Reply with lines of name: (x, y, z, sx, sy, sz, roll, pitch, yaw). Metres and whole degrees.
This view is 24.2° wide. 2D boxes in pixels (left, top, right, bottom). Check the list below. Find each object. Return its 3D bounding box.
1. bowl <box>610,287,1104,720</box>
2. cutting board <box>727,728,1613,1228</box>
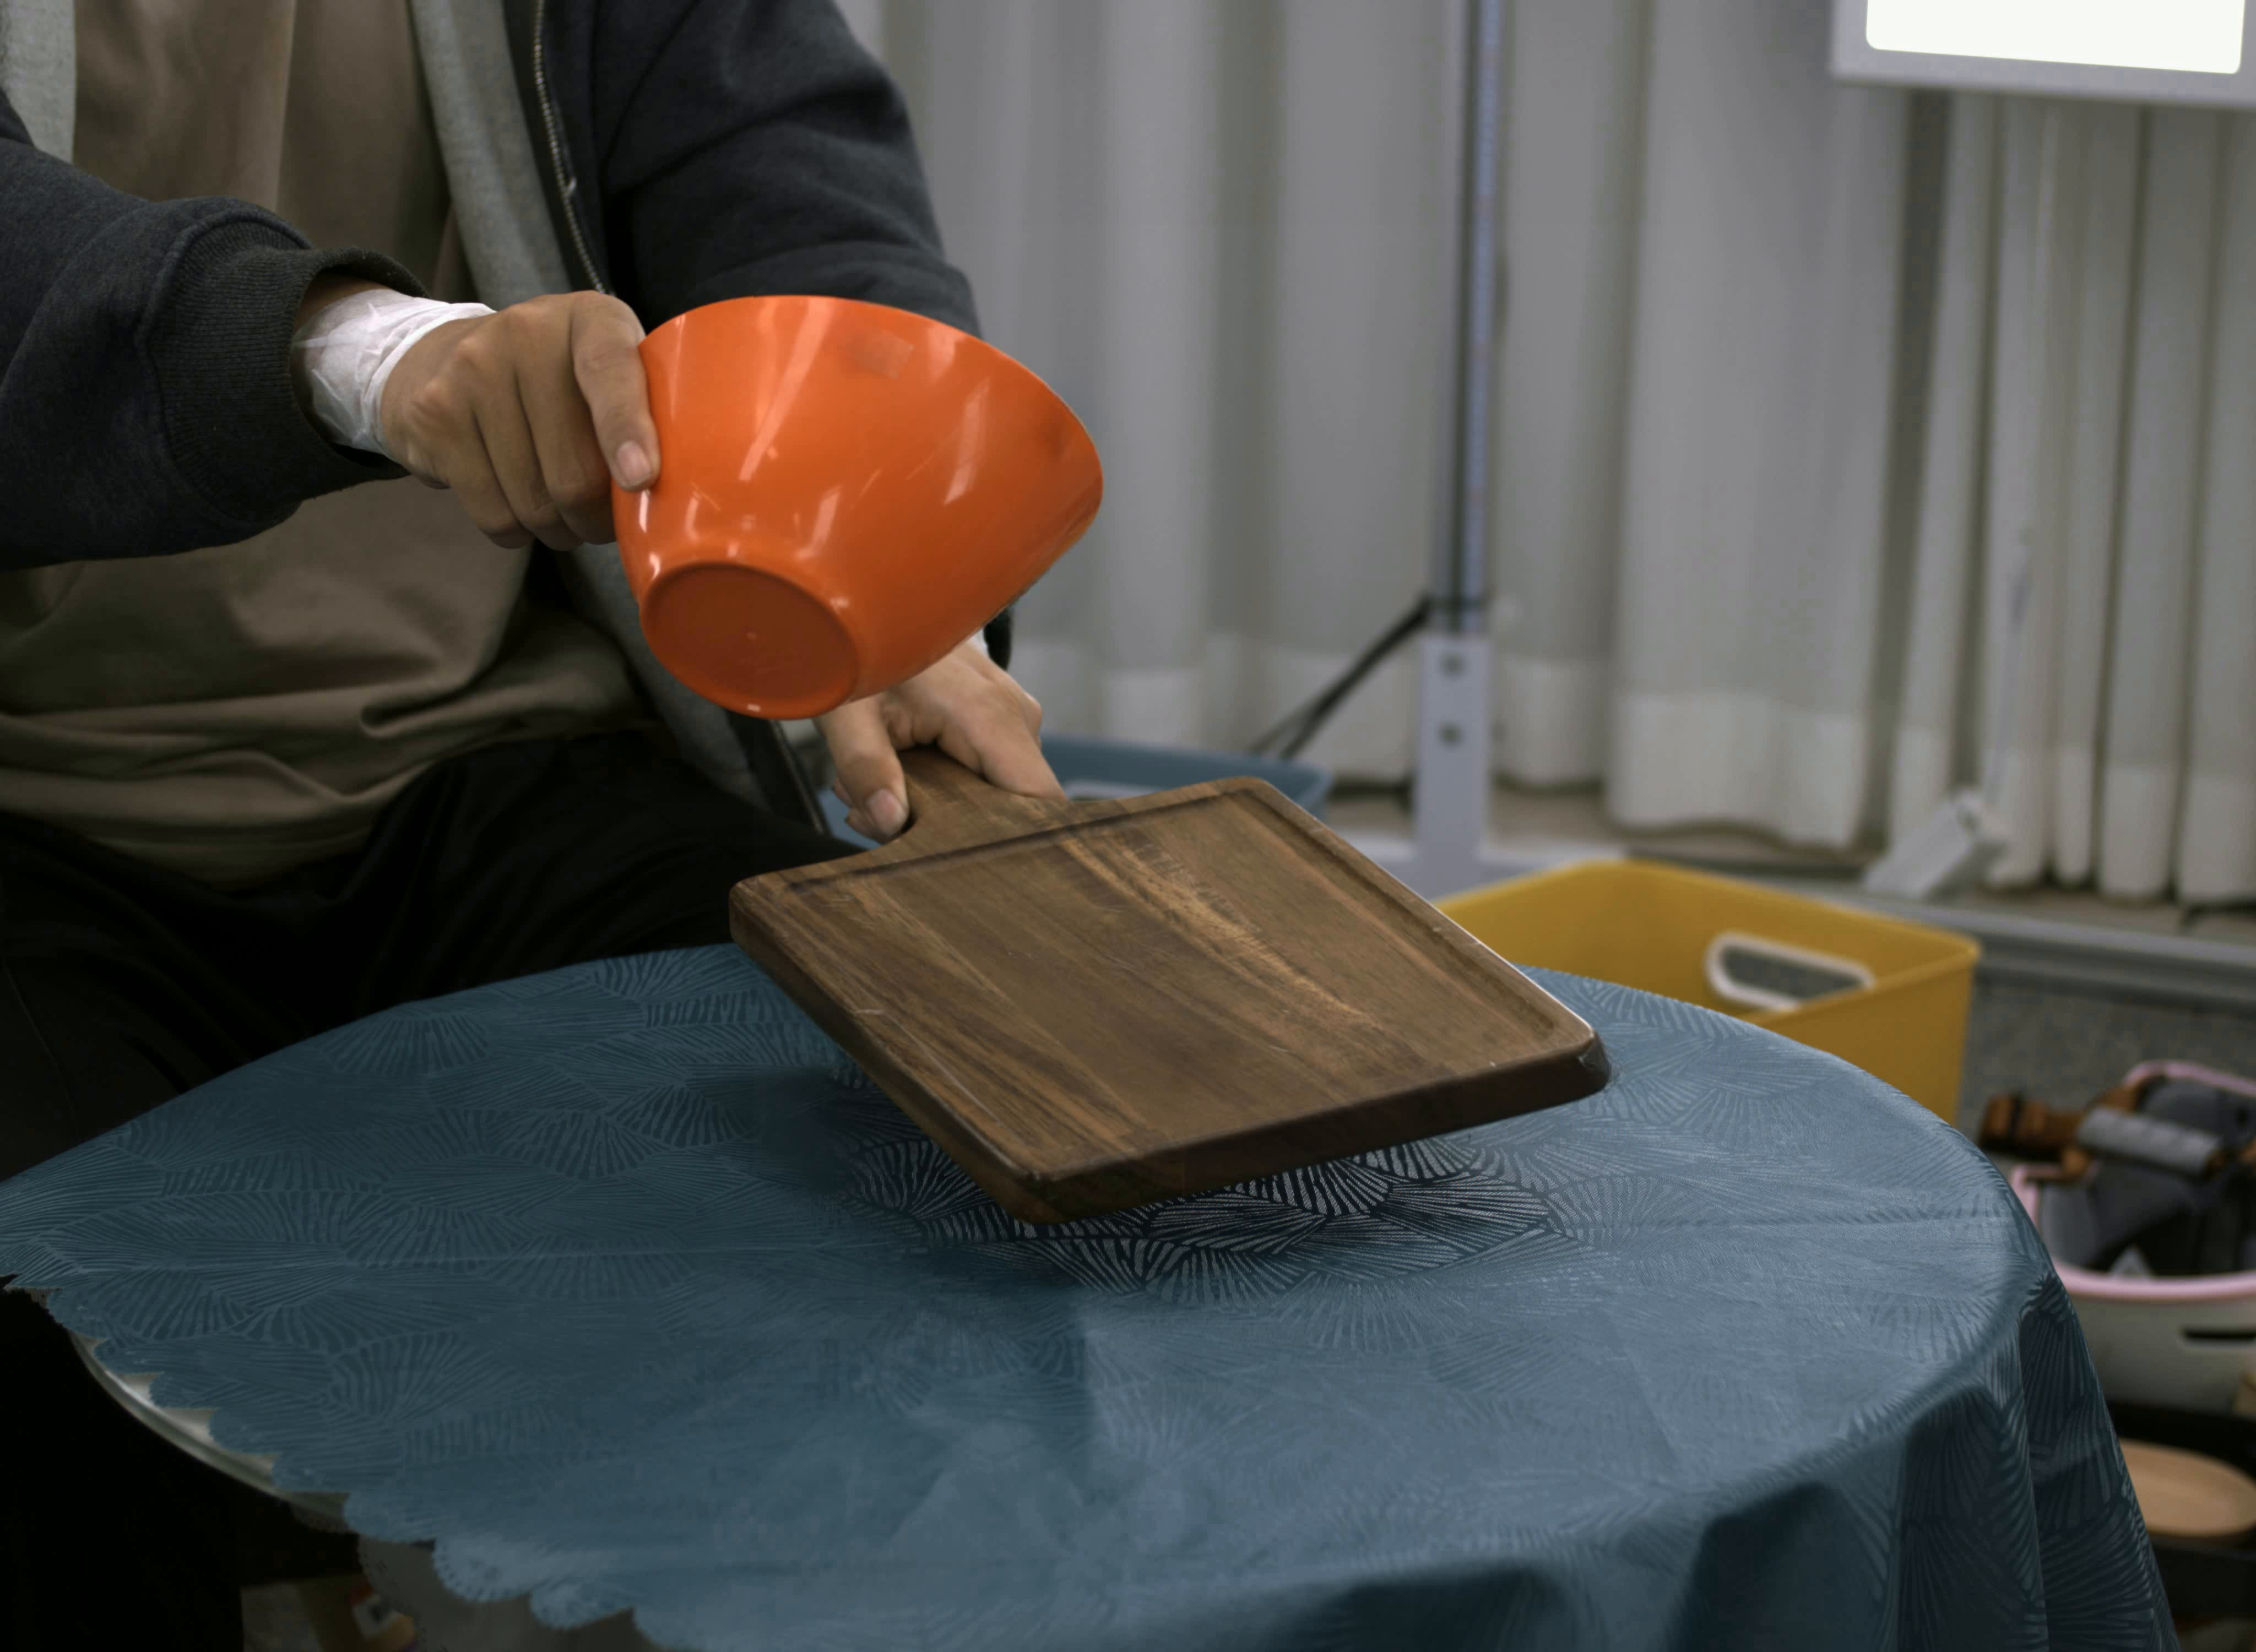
bowl: (-0.090, -0.083, 1.547, 0.147, 0.150, 0.104, 6, 50, 16)
cutting board: (-0.012, 0.033, 1.698, 0.201, 0.023, 0.347, -11, 24, -23)
